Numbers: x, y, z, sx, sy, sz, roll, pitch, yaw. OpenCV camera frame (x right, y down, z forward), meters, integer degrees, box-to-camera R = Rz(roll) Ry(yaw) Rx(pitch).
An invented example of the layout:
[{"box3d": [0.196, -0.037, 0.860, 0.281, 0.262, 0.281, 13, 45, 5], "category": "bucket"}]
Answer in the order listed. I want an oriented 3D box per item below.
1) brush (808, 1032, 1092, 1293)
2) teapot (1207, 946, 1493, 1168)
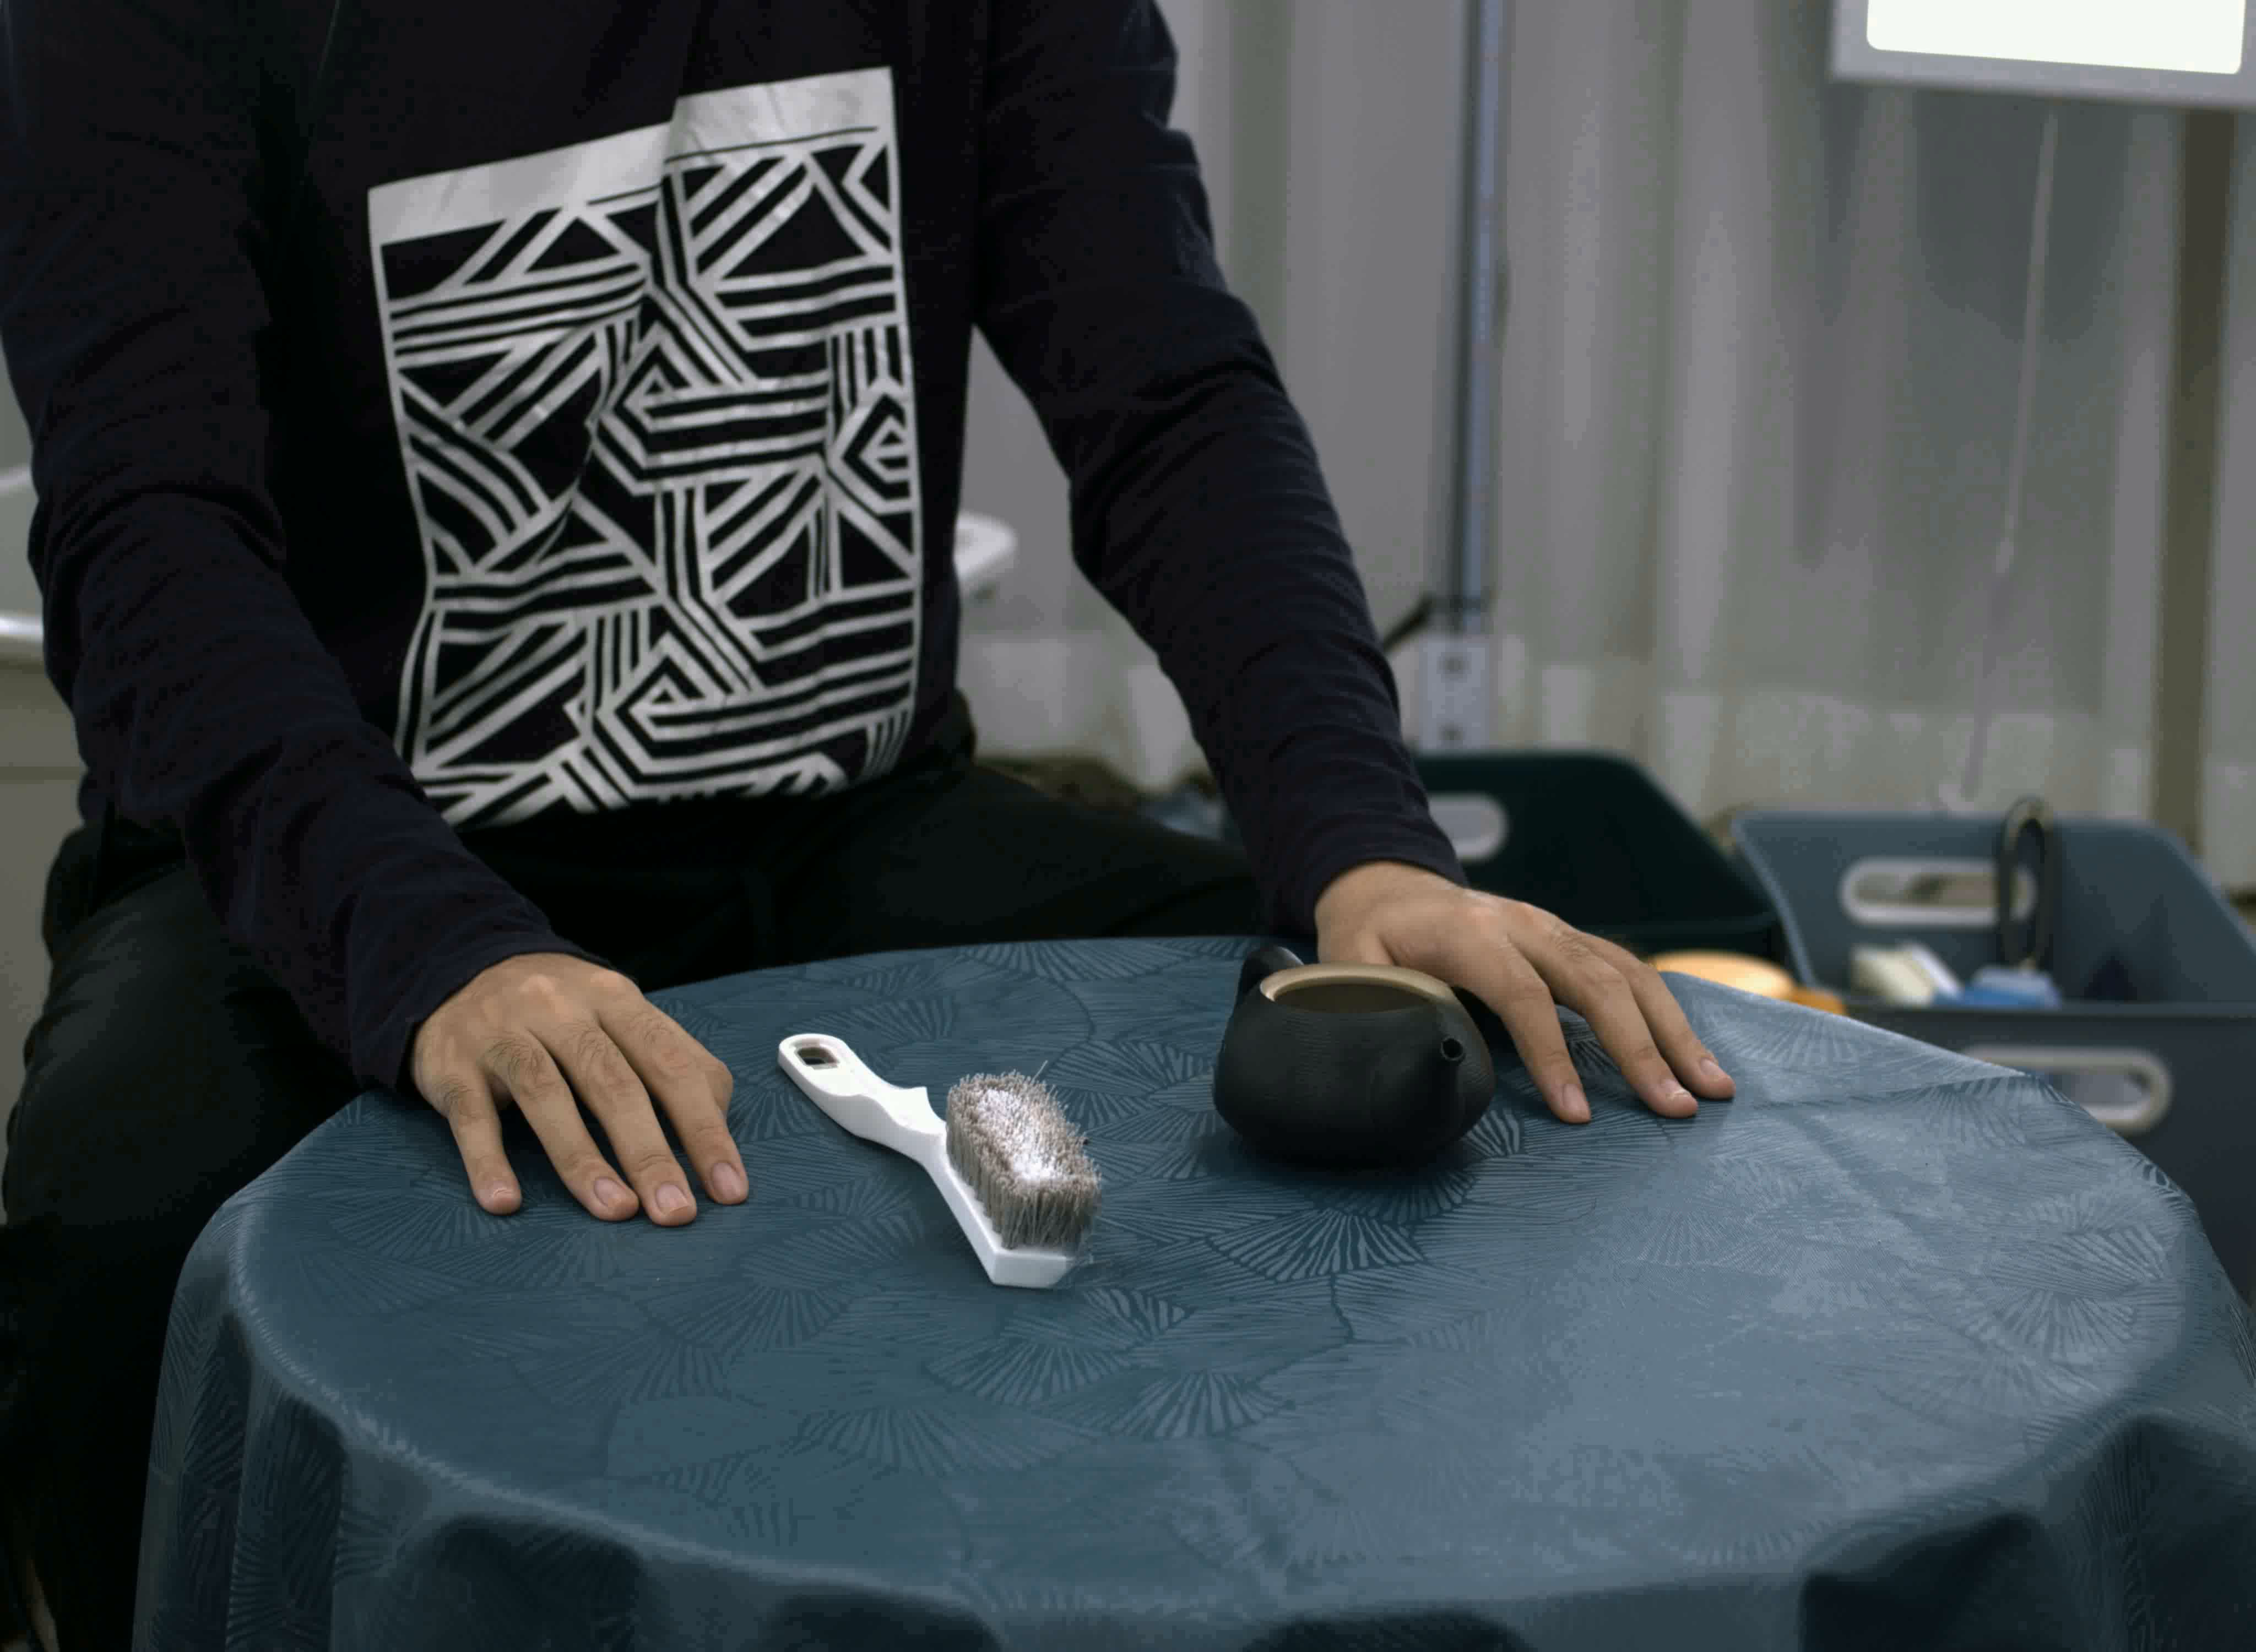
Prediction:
[{"box3d": [-0.061, 0.084, 1.635, 0.034, 0.050, 0.241, -9, 18, -16], "category": "brush"}, {"box3d": [0.070, 0.075, 1.663, 0.091, 0.053, 0.131, -4, 16, -28], "category": "teapot"}]
